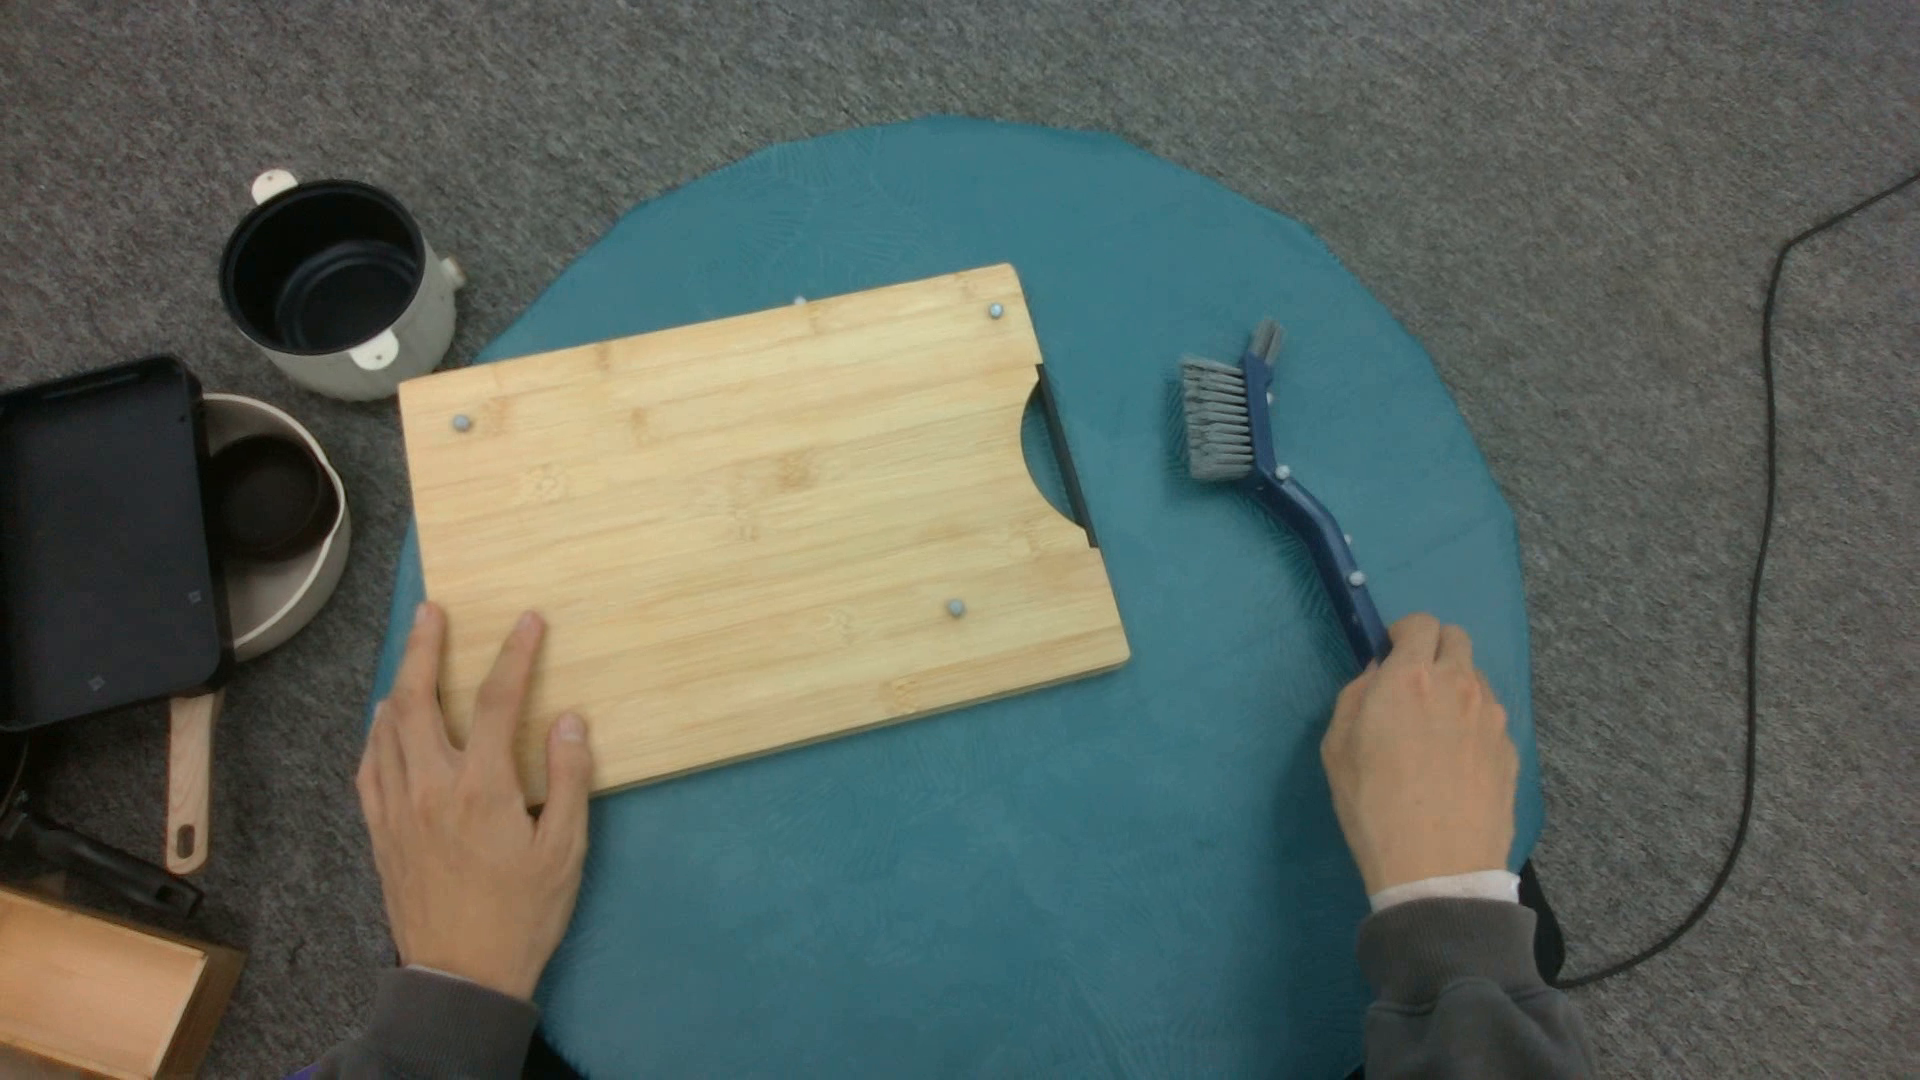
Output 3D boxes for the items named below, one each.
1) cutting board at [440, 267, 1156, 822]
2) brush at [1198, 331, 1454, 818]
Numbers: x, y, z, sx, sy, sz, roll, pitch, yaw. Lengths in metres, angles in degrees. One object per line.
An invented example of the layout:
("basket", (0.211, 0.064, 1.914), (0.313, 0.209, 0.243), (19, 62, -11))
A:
("cutting board", (-0.095, -0.007, 0.743), (0.349, 0.023, 0.251), (-14, 72, -7))
("brush", (0.205, 0.010, 0.735), (0.096, 0.033, 0.273), (-19, 69, -19))
